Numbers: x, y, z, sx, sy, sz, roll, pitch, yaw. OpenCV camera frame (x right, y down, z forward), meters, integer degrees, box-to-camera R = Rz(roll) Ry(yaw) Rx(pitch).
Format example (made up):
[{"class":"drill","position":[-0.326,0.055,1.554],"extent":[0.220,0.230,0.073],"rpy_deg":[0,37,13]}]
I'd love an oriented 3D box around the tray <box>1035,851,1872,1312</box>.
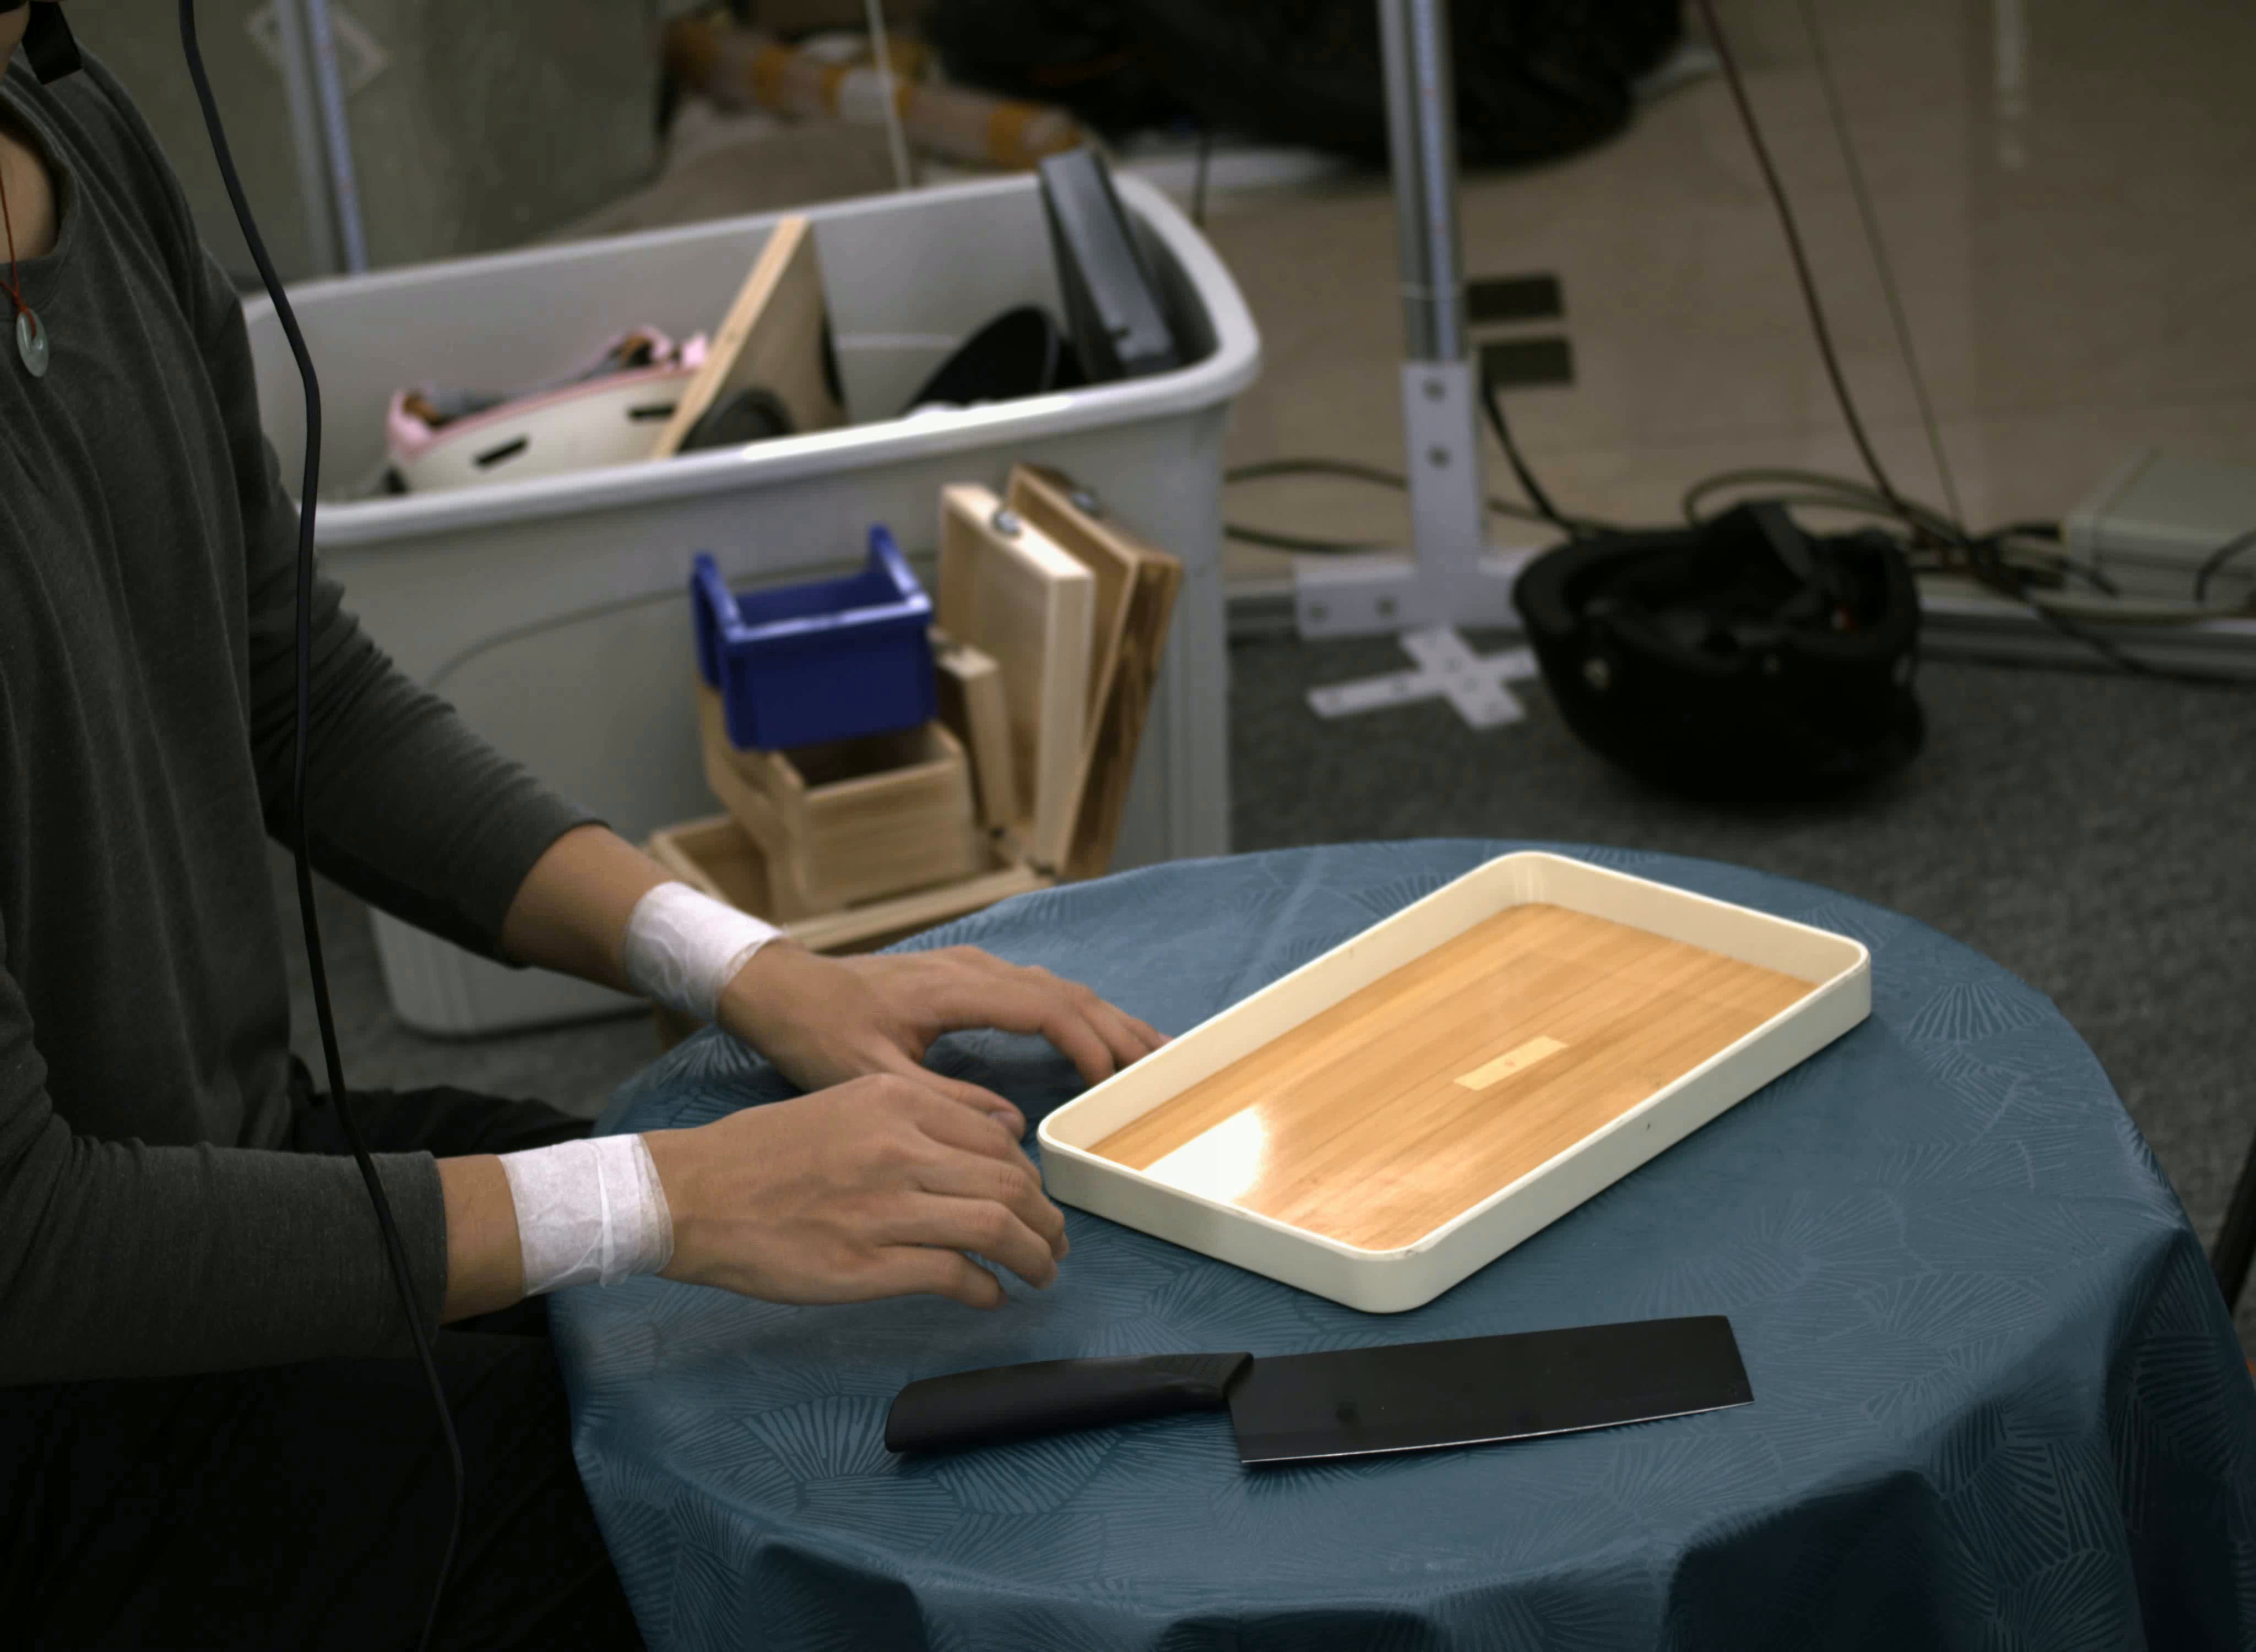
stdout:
[{"class":"tray","position":[0.128,0.093,2.186],"extent":[0.190,0.028,0.297],"rpy_deg":[17,34,41]}]

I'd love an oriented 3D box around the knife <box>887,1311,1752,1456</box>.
[{"class":"knife","position":[0.066,0.200,1.989],"extent":[0.302,0.021,0.079],"rpy_deg":[-4,26,2]}]
